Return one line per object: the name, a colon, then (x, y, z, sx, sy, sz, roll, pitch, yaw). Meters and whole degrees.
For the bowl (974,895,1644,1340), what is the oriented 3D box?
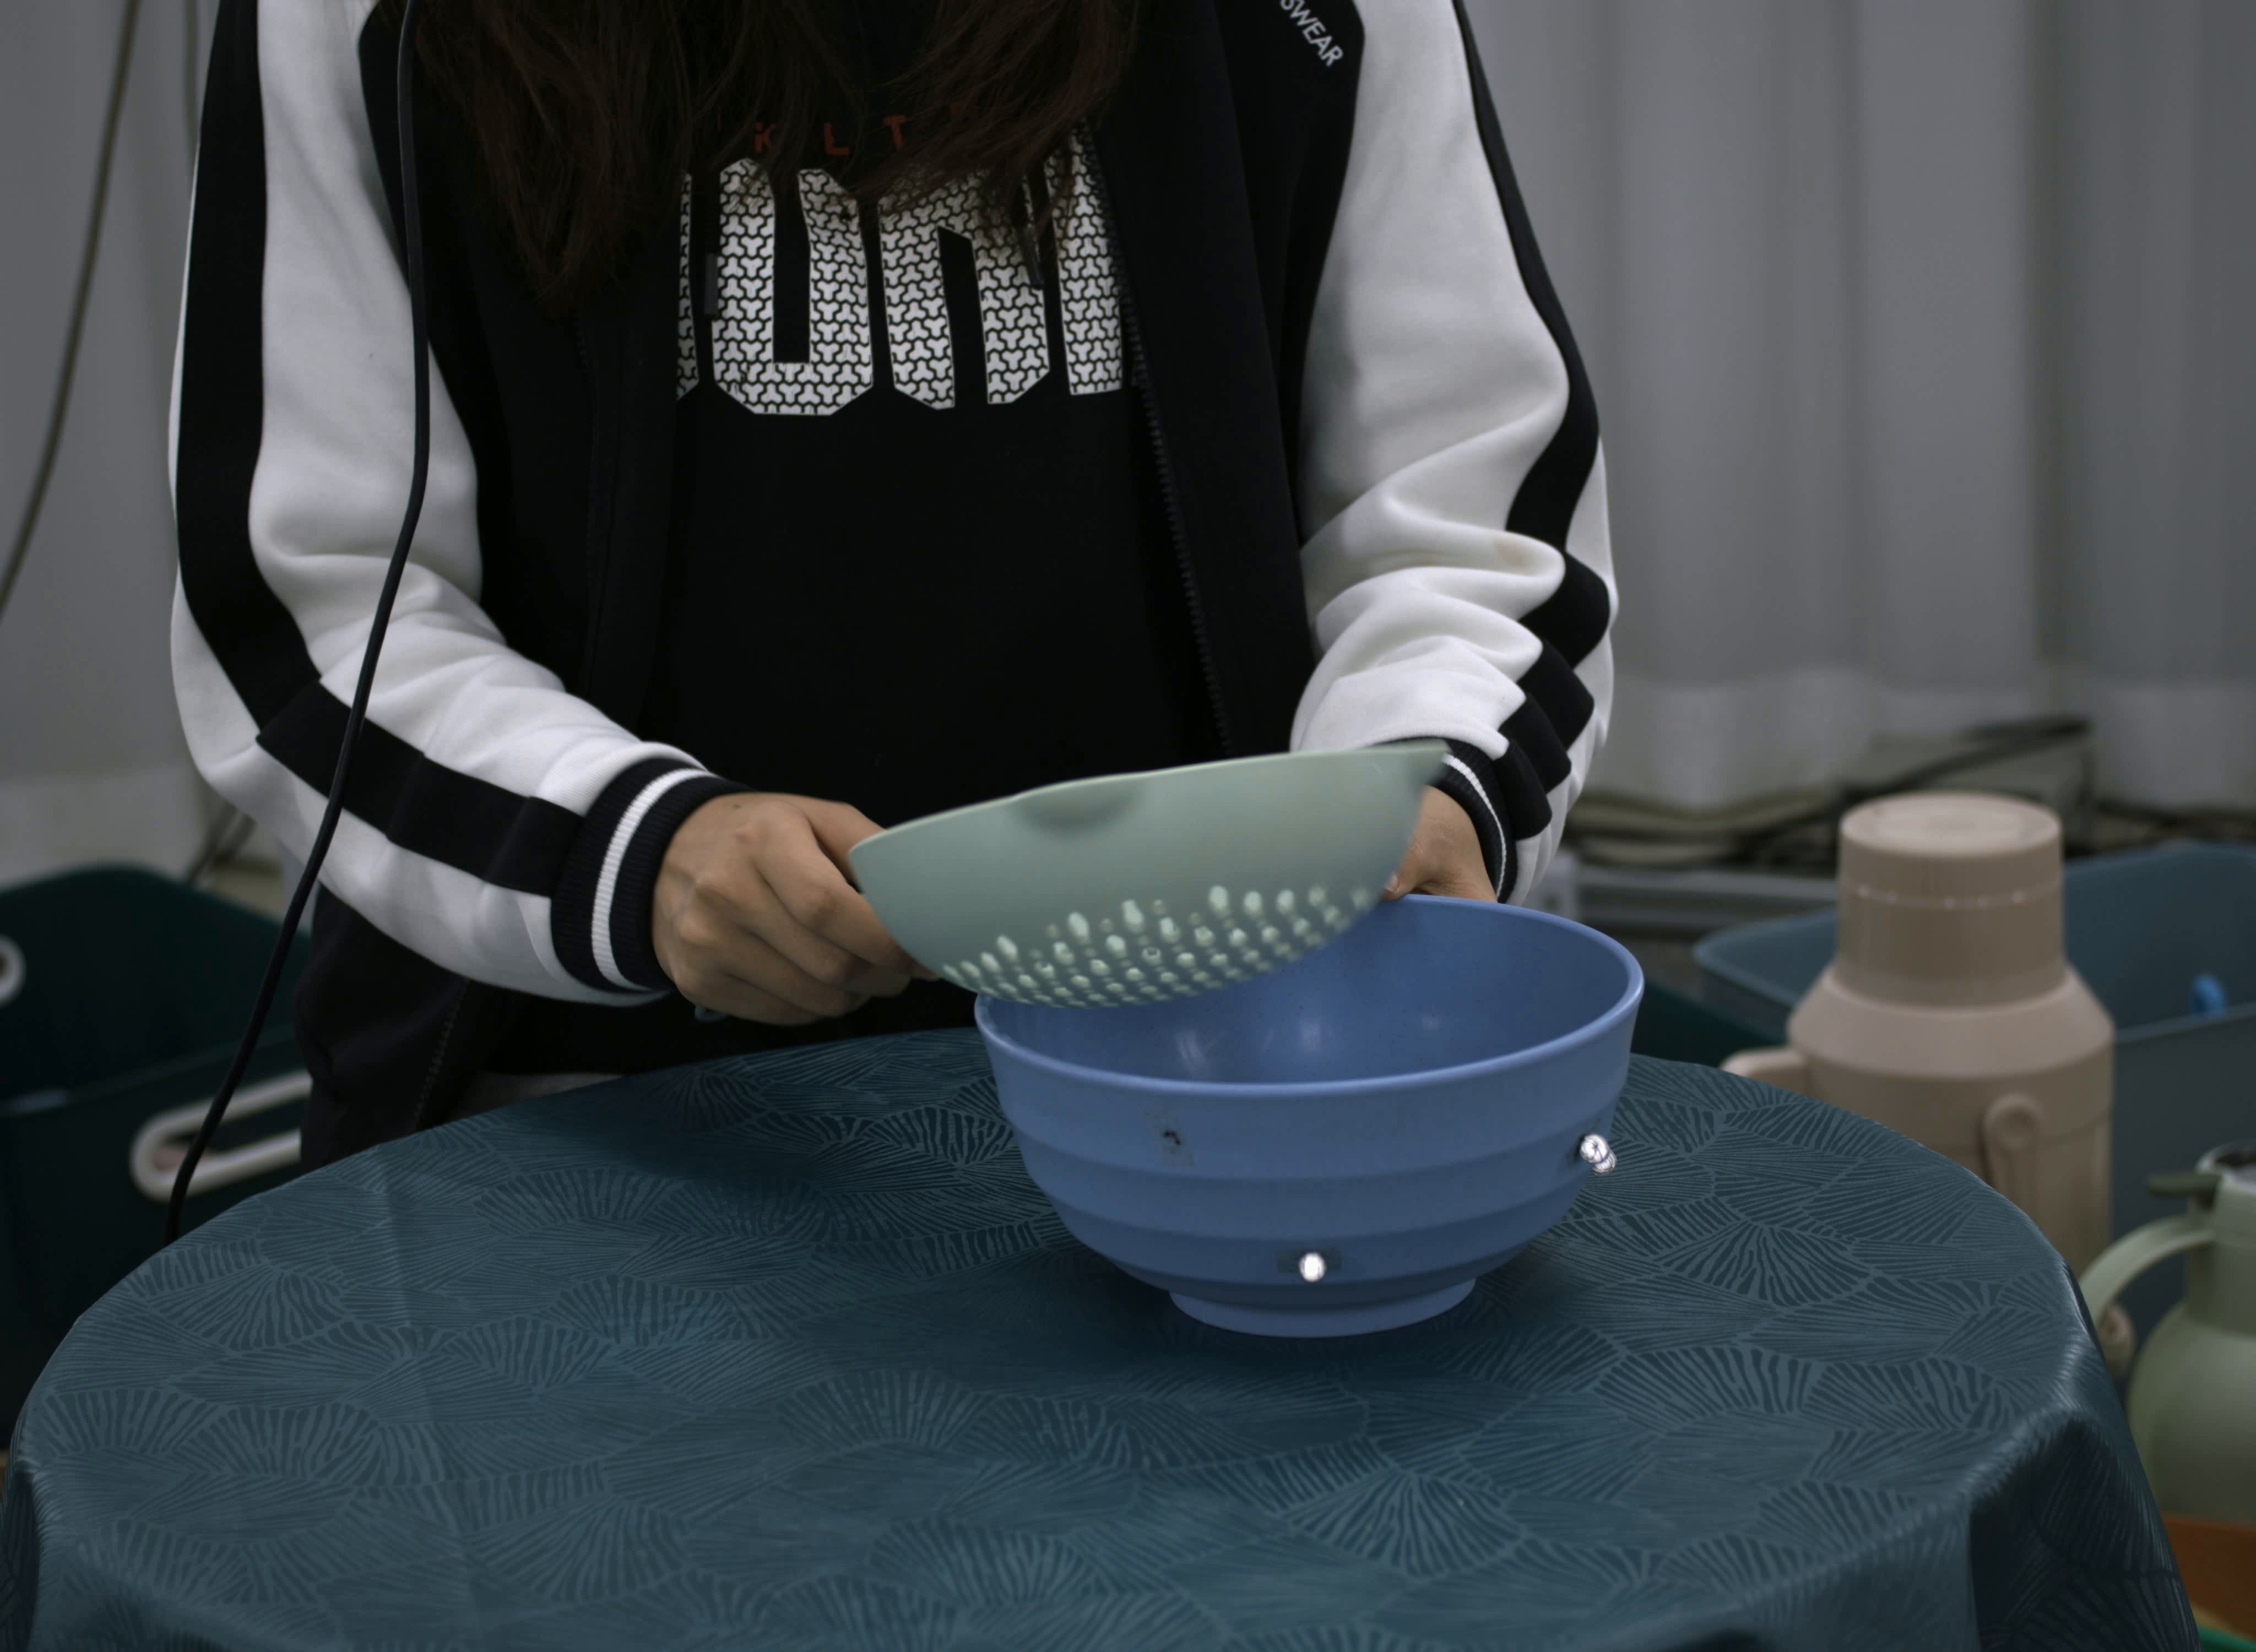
bowl: (0.055, 0.091, 1.609, 0.196, 0.095, 0.198, -3, 14, 1)

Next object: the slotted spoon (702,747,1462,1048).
slotted spoon: (-0.044, 0.026, 1.659, 0.168, 0.075, 0.359, -2, -2, -32)
